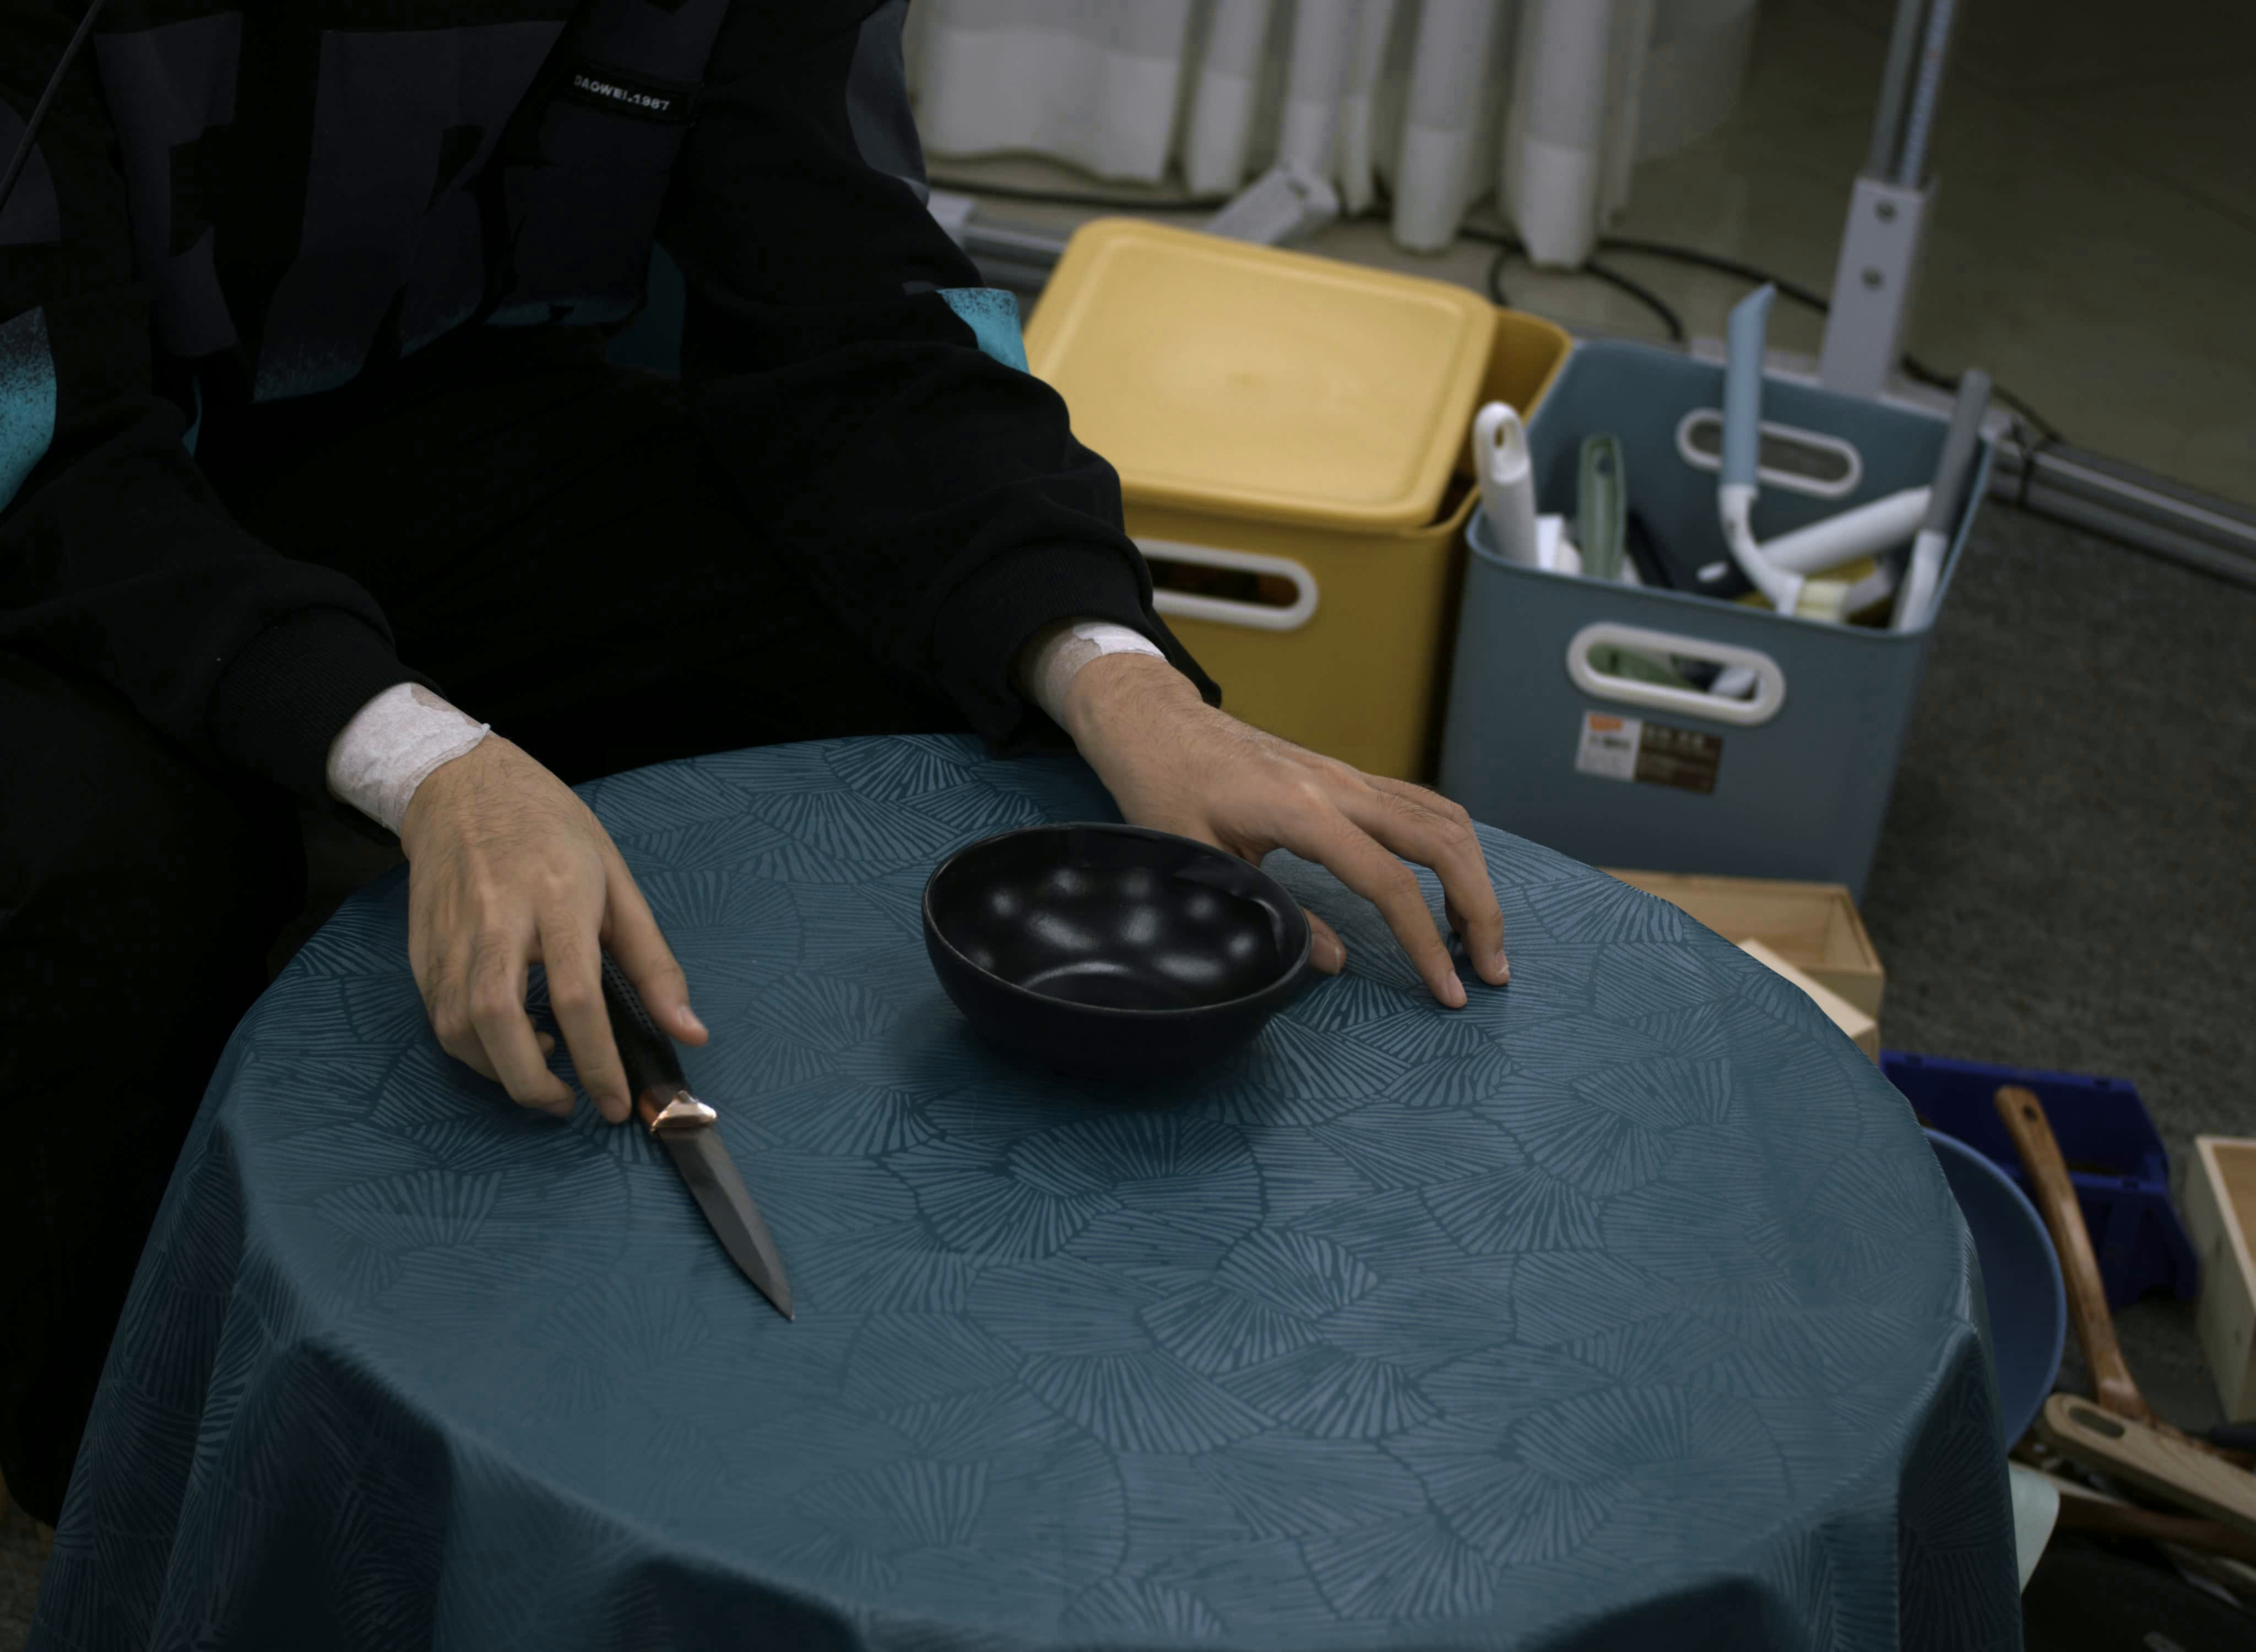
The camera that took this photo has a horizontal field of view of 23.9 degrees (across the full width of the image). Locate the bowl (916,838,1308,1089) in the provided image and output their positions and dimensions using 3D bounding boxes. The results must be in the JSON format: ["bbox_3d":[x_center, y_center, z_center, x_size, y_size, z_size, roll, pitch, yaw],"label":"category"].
[{"bbox_3d":[-0.007,0.055,1.887,0.139,0.049,0.141,2,25,-1],"label":"bowl"}]

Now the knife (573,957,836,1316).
[{"bbox_3d":[-0.145,0.104,1.797,0.026,0.017,0.227,-4,30,-24],"label":"knife"}]
